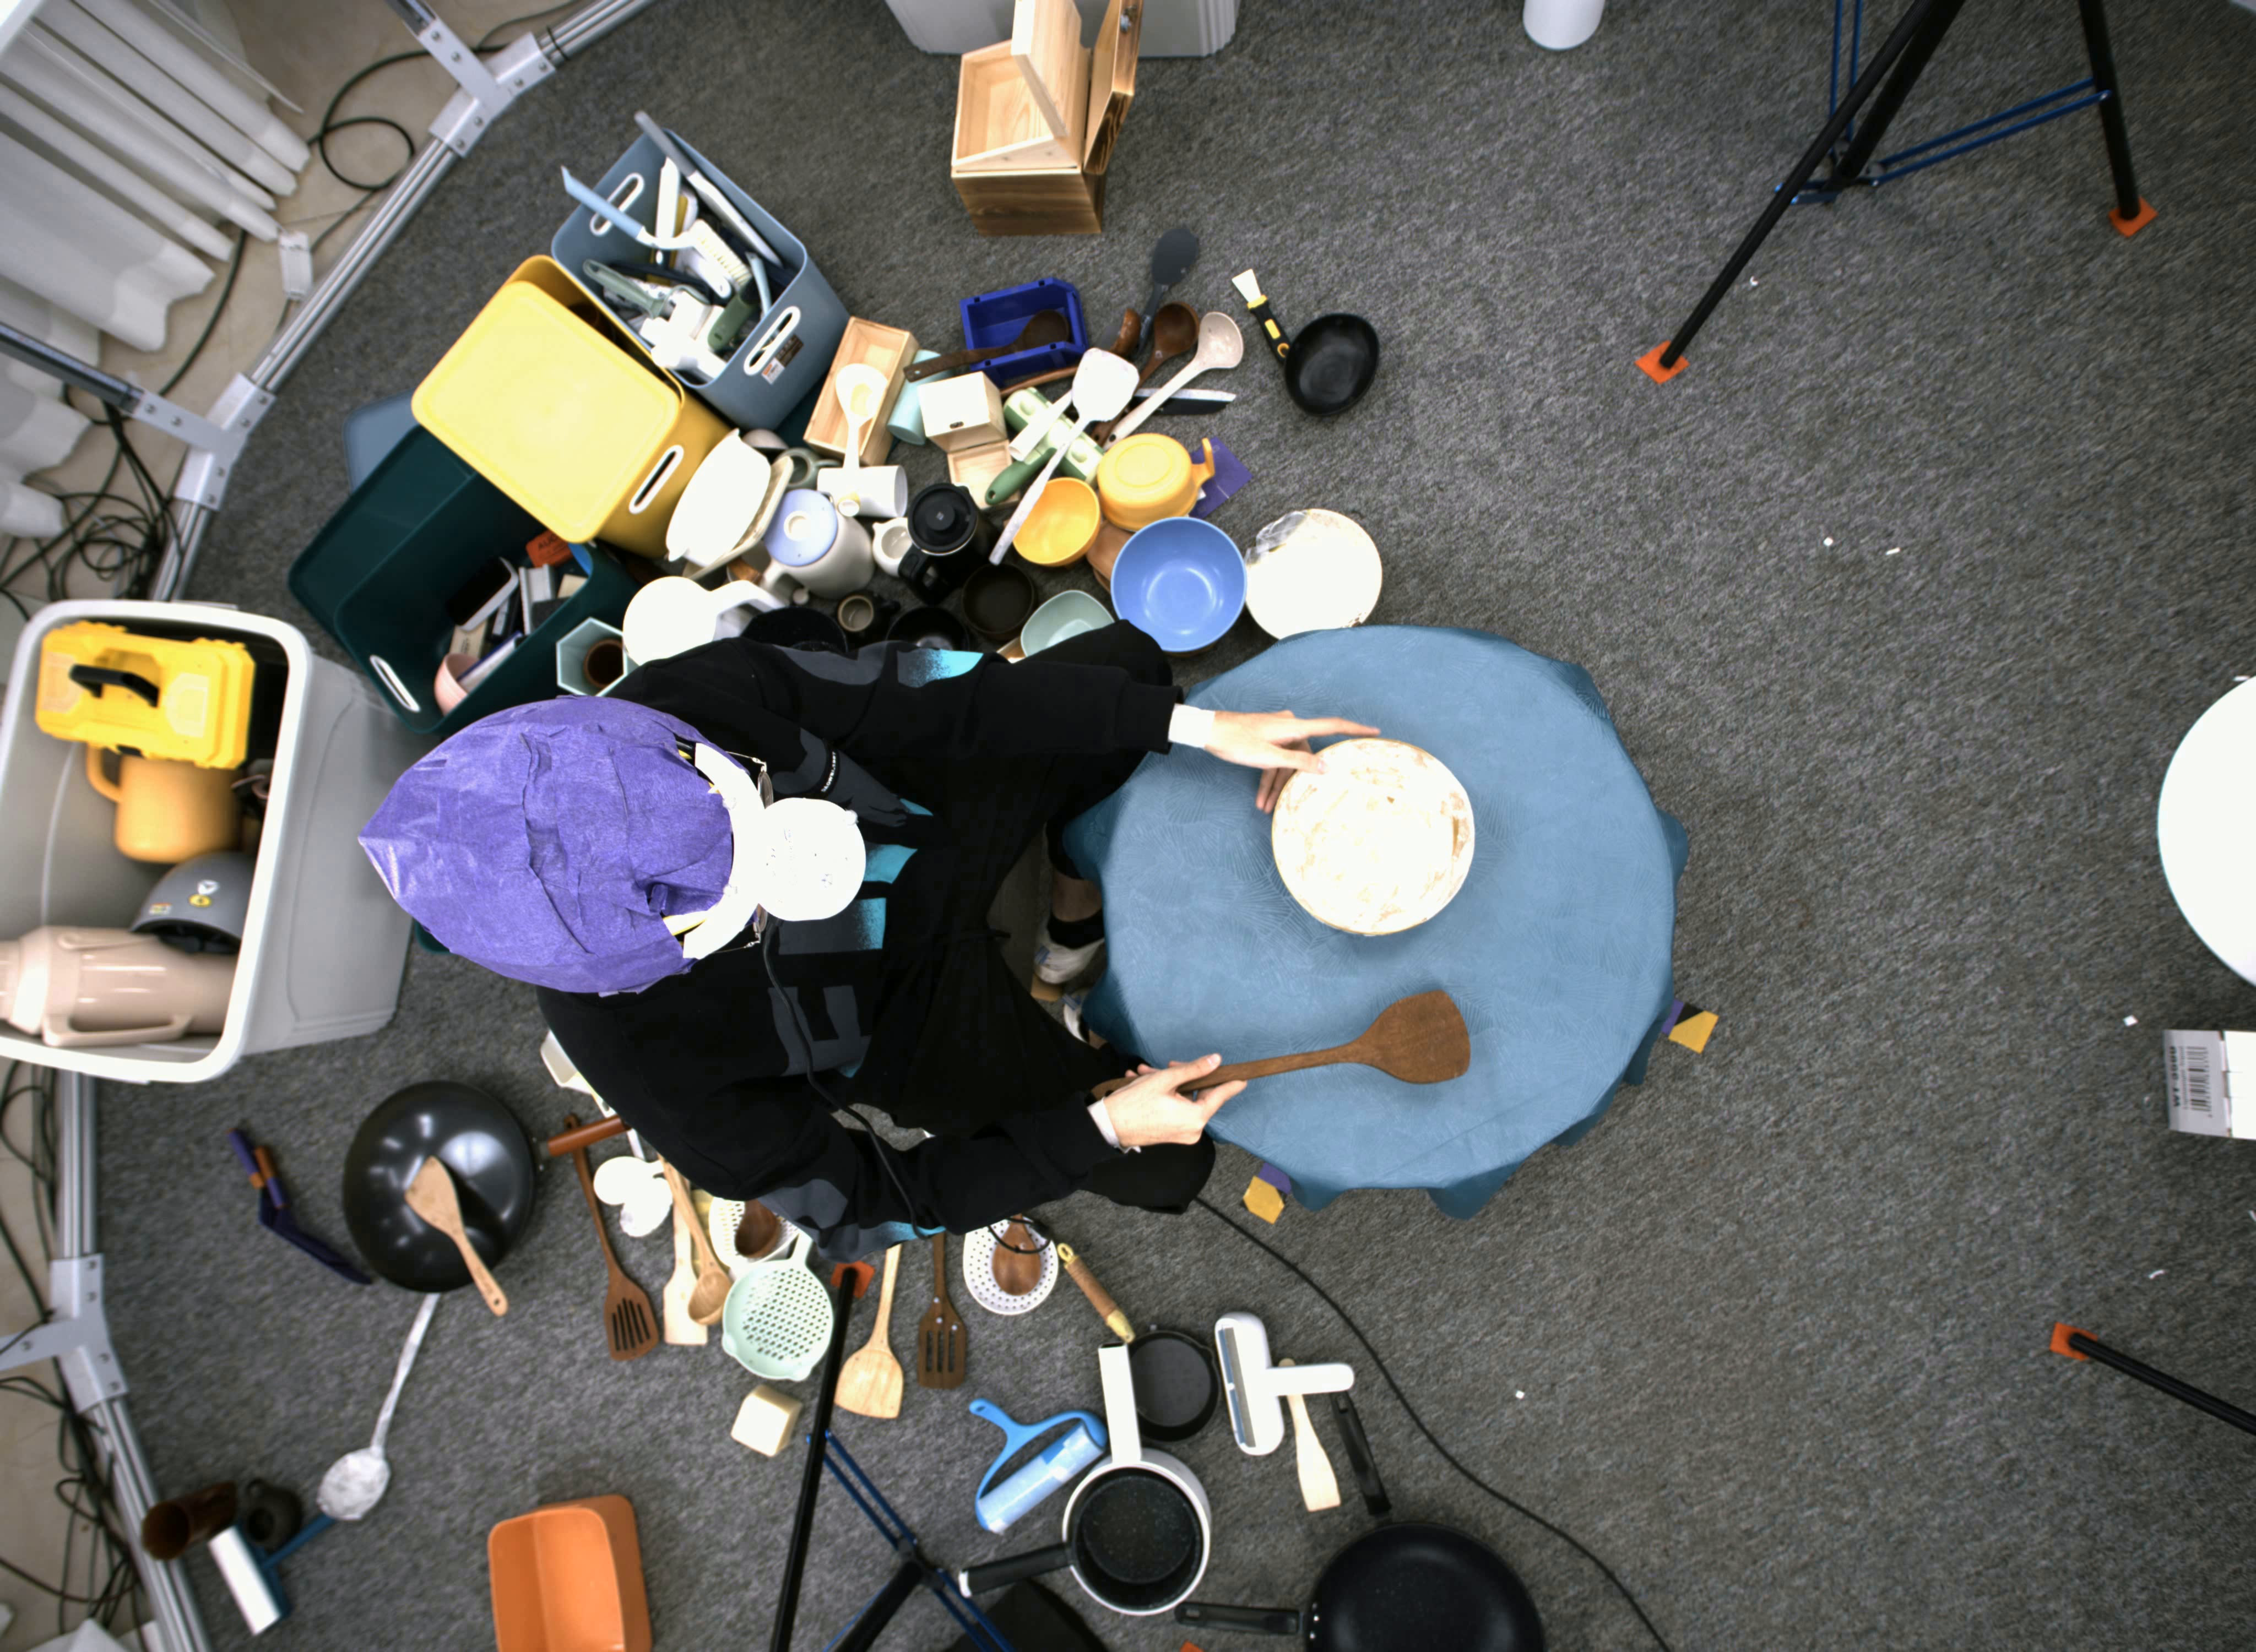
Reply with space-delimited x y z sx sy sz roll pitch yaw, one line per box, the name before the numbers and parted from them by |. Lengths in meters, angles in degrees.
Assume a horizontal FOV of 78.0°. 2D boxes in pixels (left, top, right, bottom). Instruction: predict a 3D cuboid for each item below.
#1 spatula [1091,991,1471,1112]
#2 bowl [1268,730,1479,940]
spatula | 0.154 0.239 1.391 0.386 0.016 0.094 -10 63 -3
bowl | 0.252 0.012 1.424 0.215 0.094 0.214 -1 87 11
